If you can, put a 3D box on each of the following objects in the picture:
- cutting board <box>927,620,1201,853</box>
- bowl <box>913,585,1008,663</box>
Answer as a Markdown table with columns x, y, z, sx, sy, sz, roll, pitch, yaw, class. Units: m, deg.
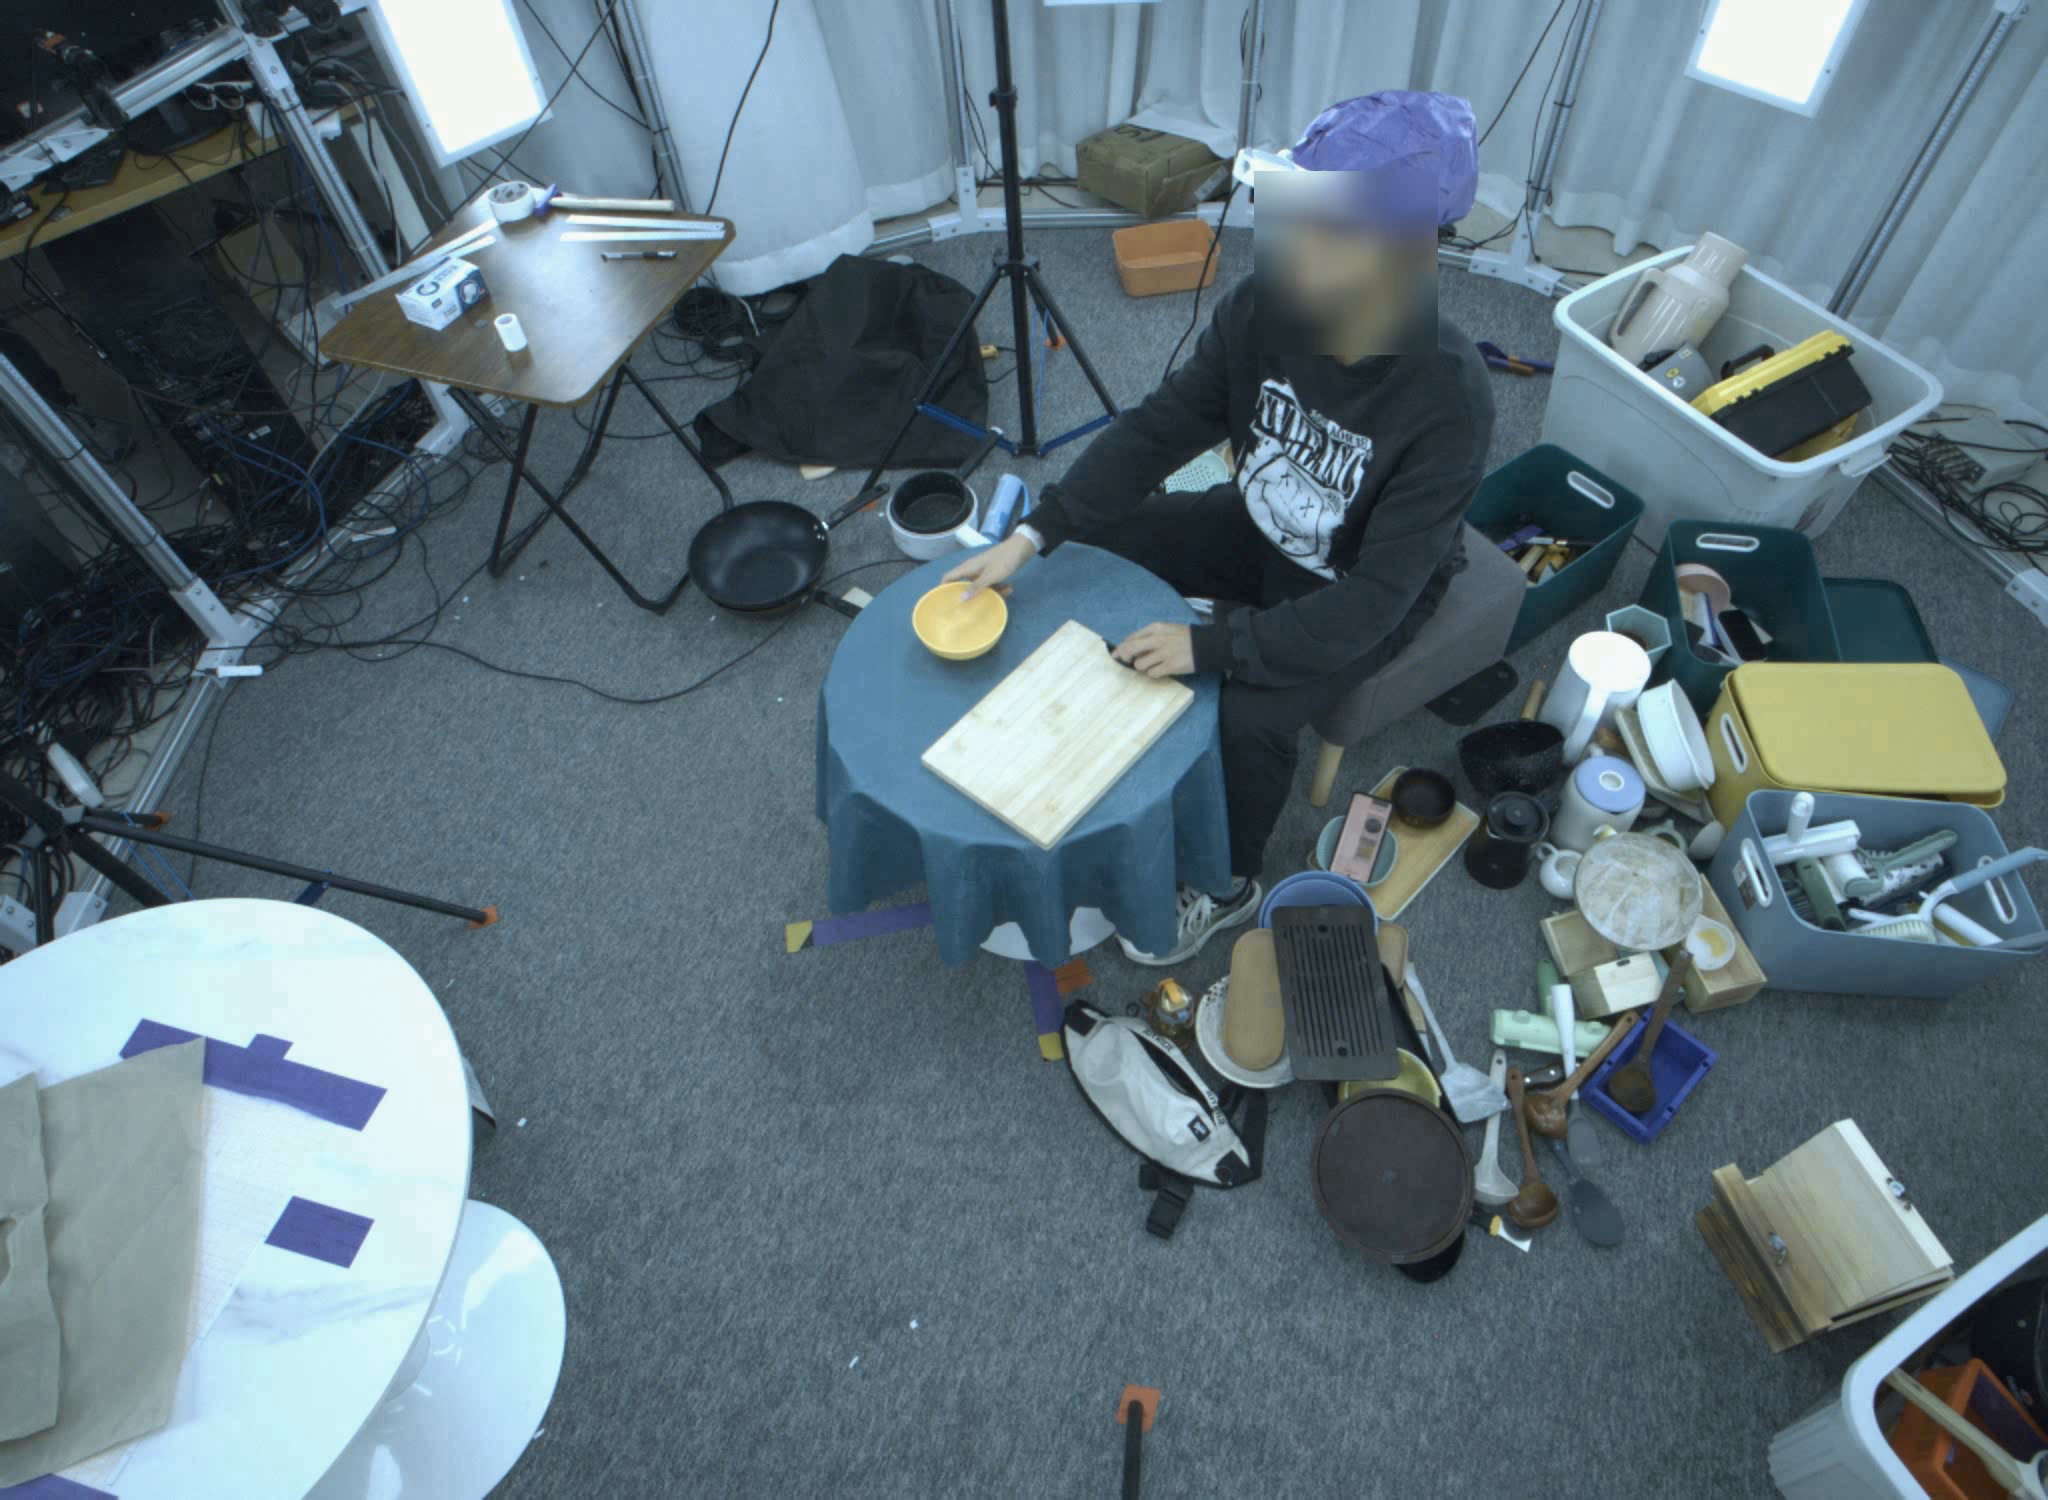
| x | y | z | sx | sy | sz | roll | pitch | yaw | class |
| --- | --- | --- | --- | --- | --- | --- | --- | --- | --- |
| 0.059 | -0.030 | 1.808 | 0.246 | 0.024 | 0.350 | 33 | 62 | 22 | cutting board |
| -0.097 | -0.183 | 1.896 | 0.145 | 0.060 | 0.144 | 1 | 55 | 0 | bowl |
